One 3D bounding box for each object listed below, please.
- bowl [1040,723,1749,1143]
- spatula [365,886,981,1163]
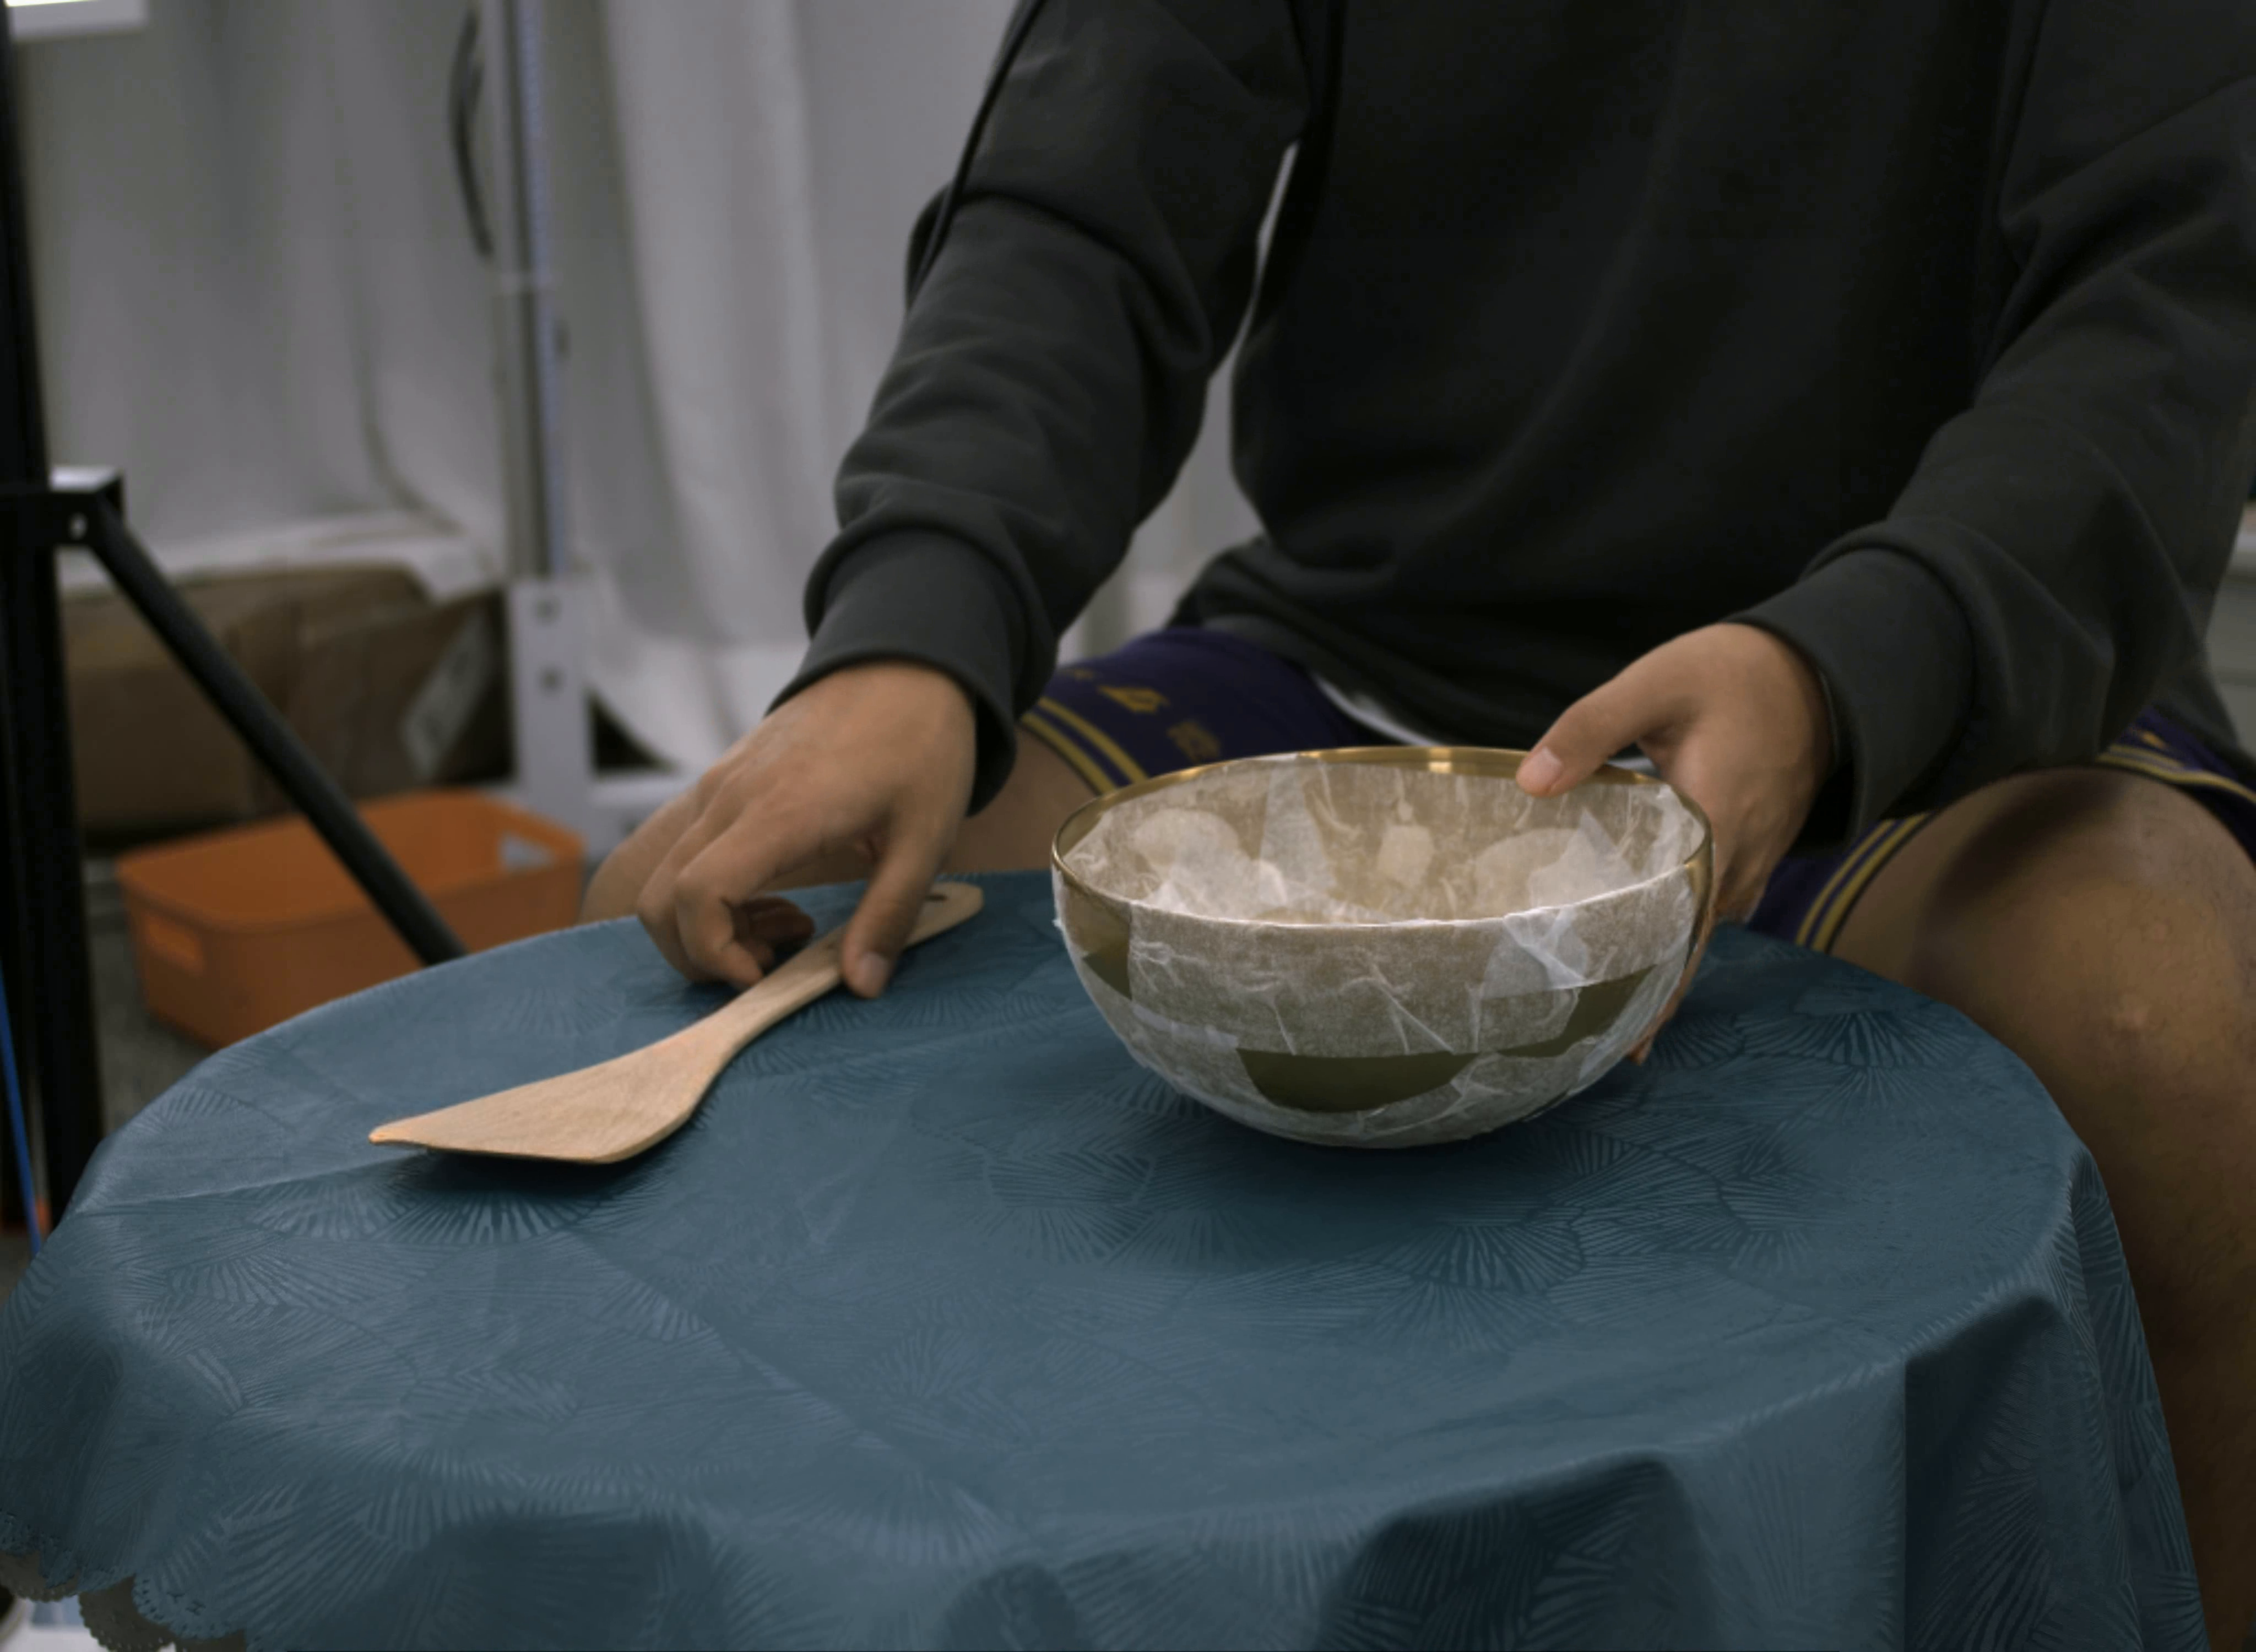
[{"bbox_3d":[0.079,0.041,1.607,0.213,0.094,0.216,-3,16,0],"label":"bowl"},{"bbox_3d":[-0.127,0.061,1.717,0.081,0.016,0.322,5,17,26],"label":"spatula"}]
